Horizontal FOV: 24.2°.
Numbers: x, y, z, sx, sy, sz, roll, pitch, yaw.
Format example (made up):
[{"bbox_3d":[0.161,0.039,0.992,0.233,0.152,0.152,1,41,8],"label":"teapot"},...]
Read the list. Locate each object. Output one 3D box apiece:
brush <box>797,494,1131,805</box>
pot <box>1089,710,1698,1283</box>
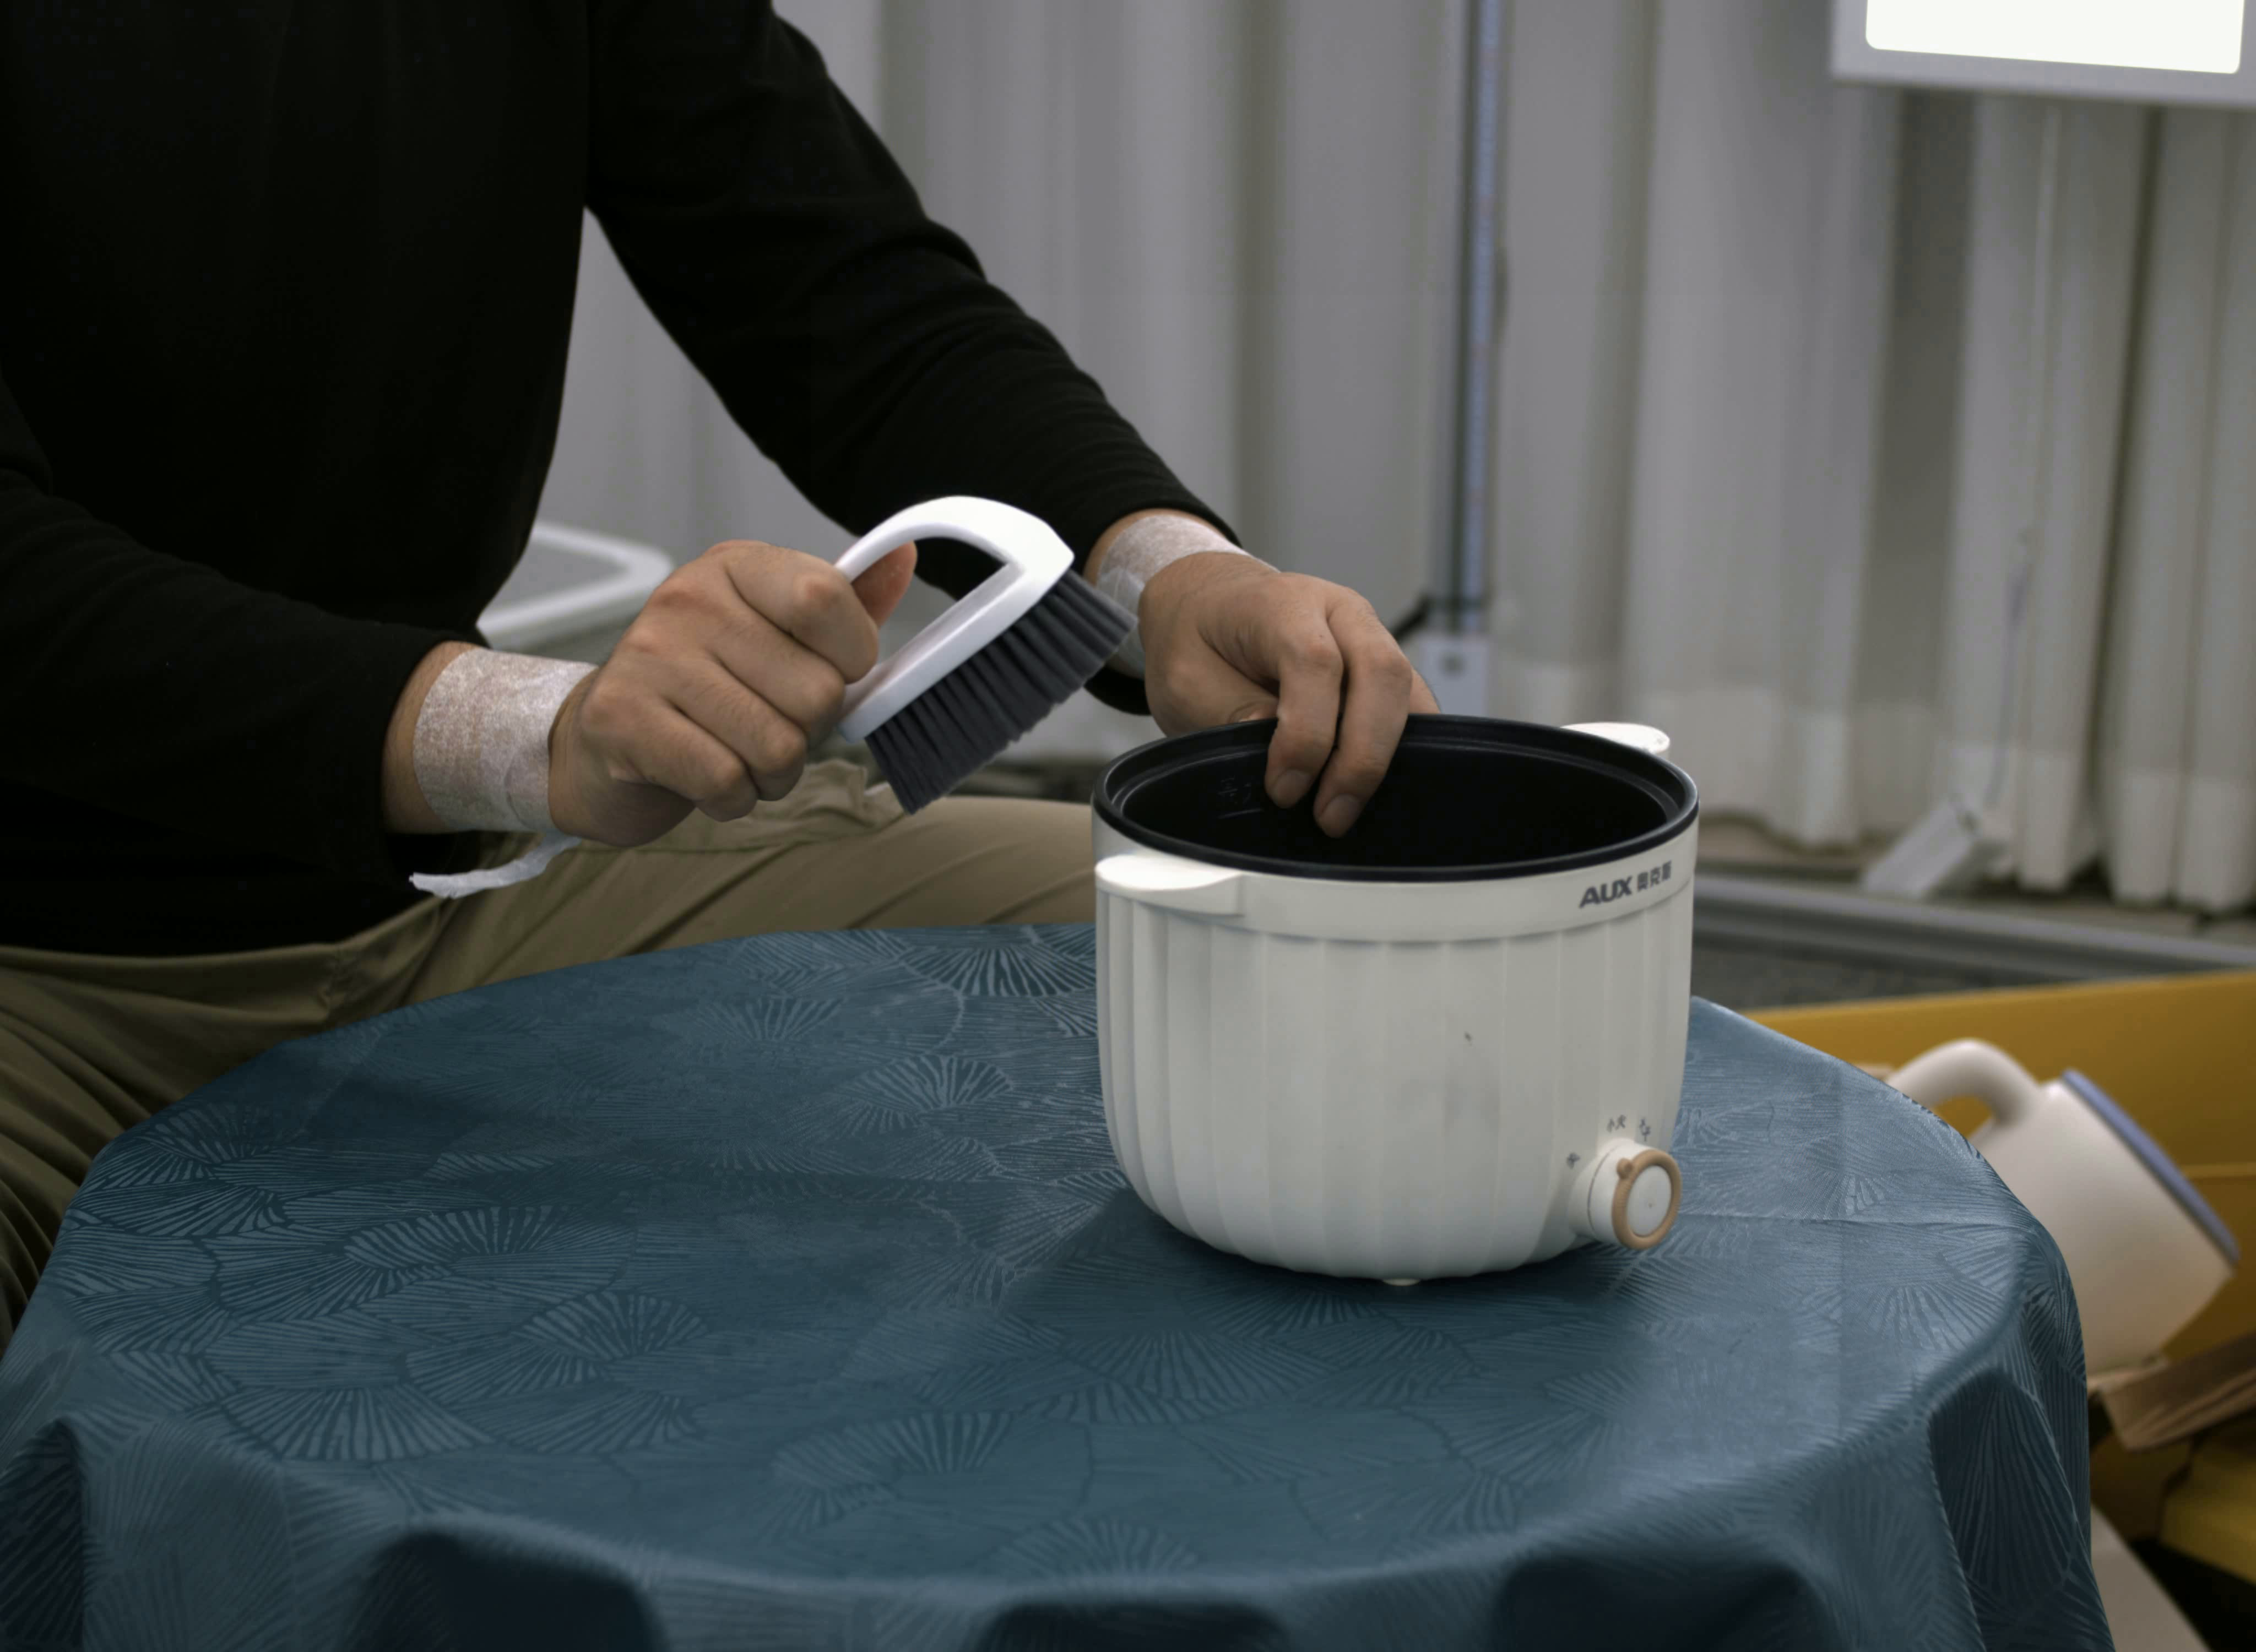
[{"bbox_3d":[-0.056,-0.058,1.540,0.099,0.073,0.050,-34,14,42],"label":"brush"},{"bbox_3d":[0.084,0.052,1.580,0.188,0.144,0.241,11,20,41],"label":"pot"}]
